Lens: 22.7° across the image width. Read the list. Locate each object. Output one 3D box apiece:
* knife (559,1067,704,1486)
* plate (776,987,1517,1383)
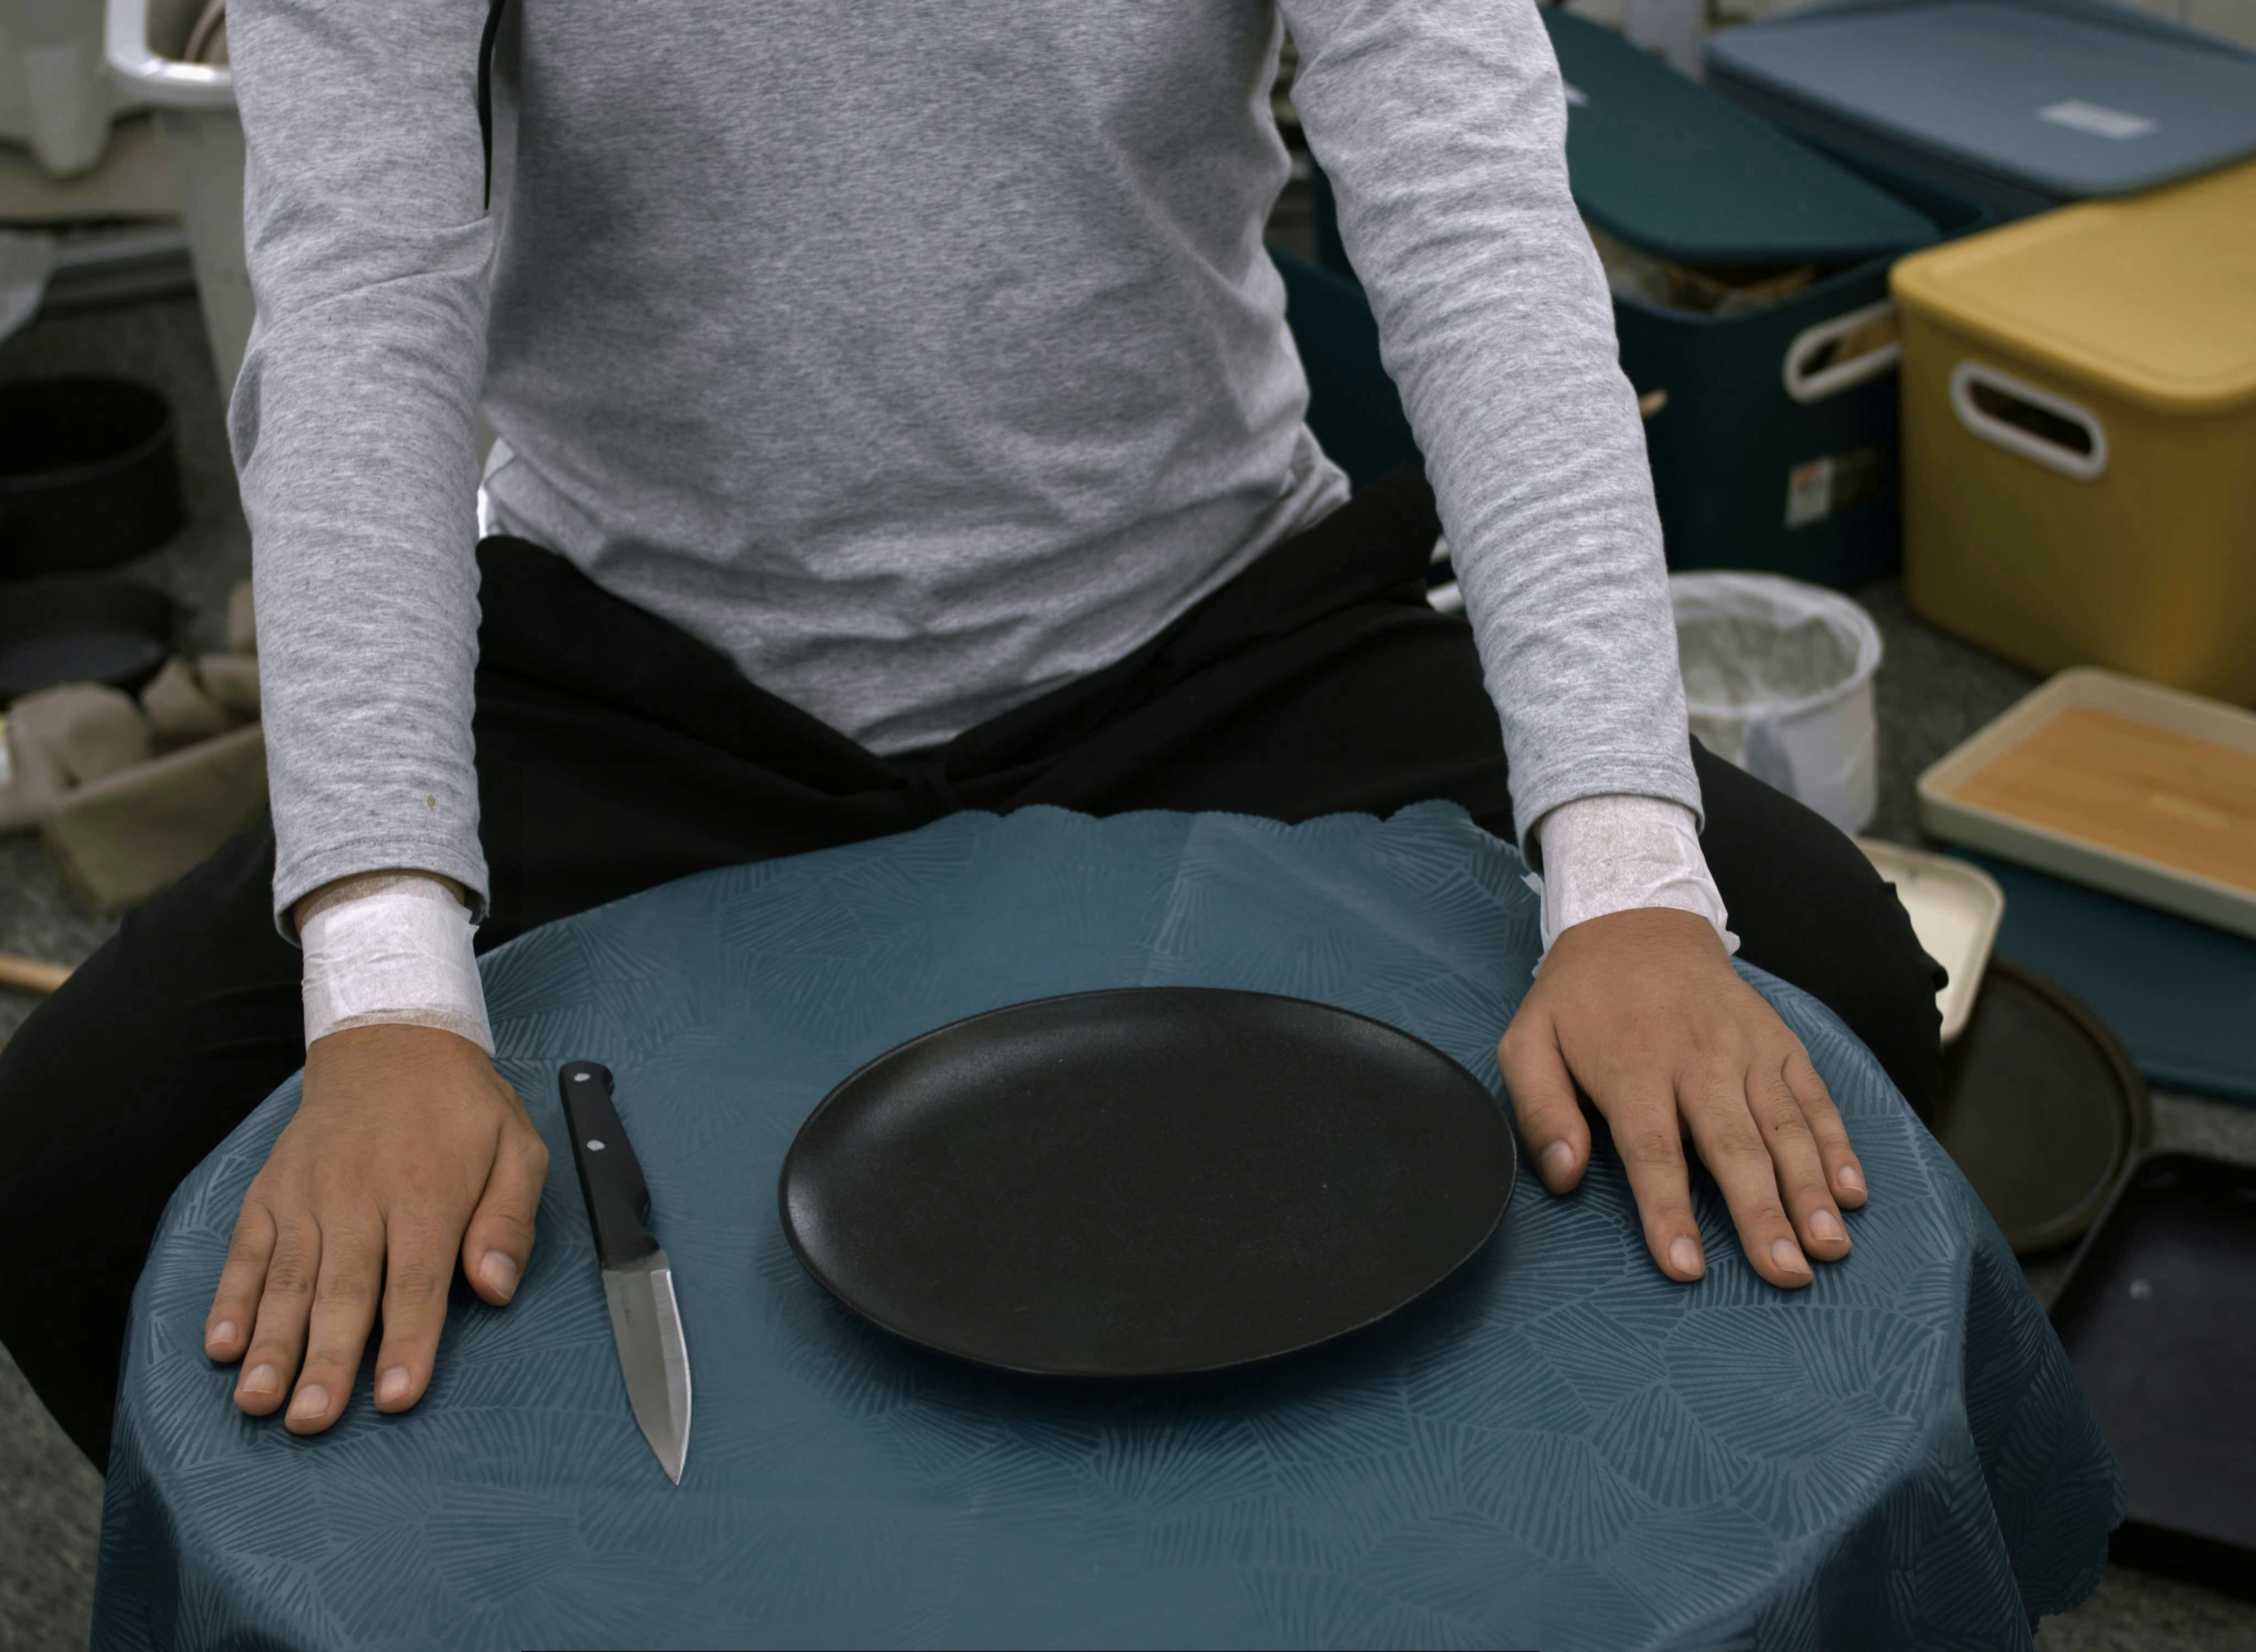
[{"bbox_3d":[-0.162,0.145,1.819,0.024,0.016,0.241,-8,30,-10],"label":"knife"},{"bbox_3d":[0.006,0.121,1.838,0.243,0.023,0.248,-2,27,1],"label":"plate"}]
